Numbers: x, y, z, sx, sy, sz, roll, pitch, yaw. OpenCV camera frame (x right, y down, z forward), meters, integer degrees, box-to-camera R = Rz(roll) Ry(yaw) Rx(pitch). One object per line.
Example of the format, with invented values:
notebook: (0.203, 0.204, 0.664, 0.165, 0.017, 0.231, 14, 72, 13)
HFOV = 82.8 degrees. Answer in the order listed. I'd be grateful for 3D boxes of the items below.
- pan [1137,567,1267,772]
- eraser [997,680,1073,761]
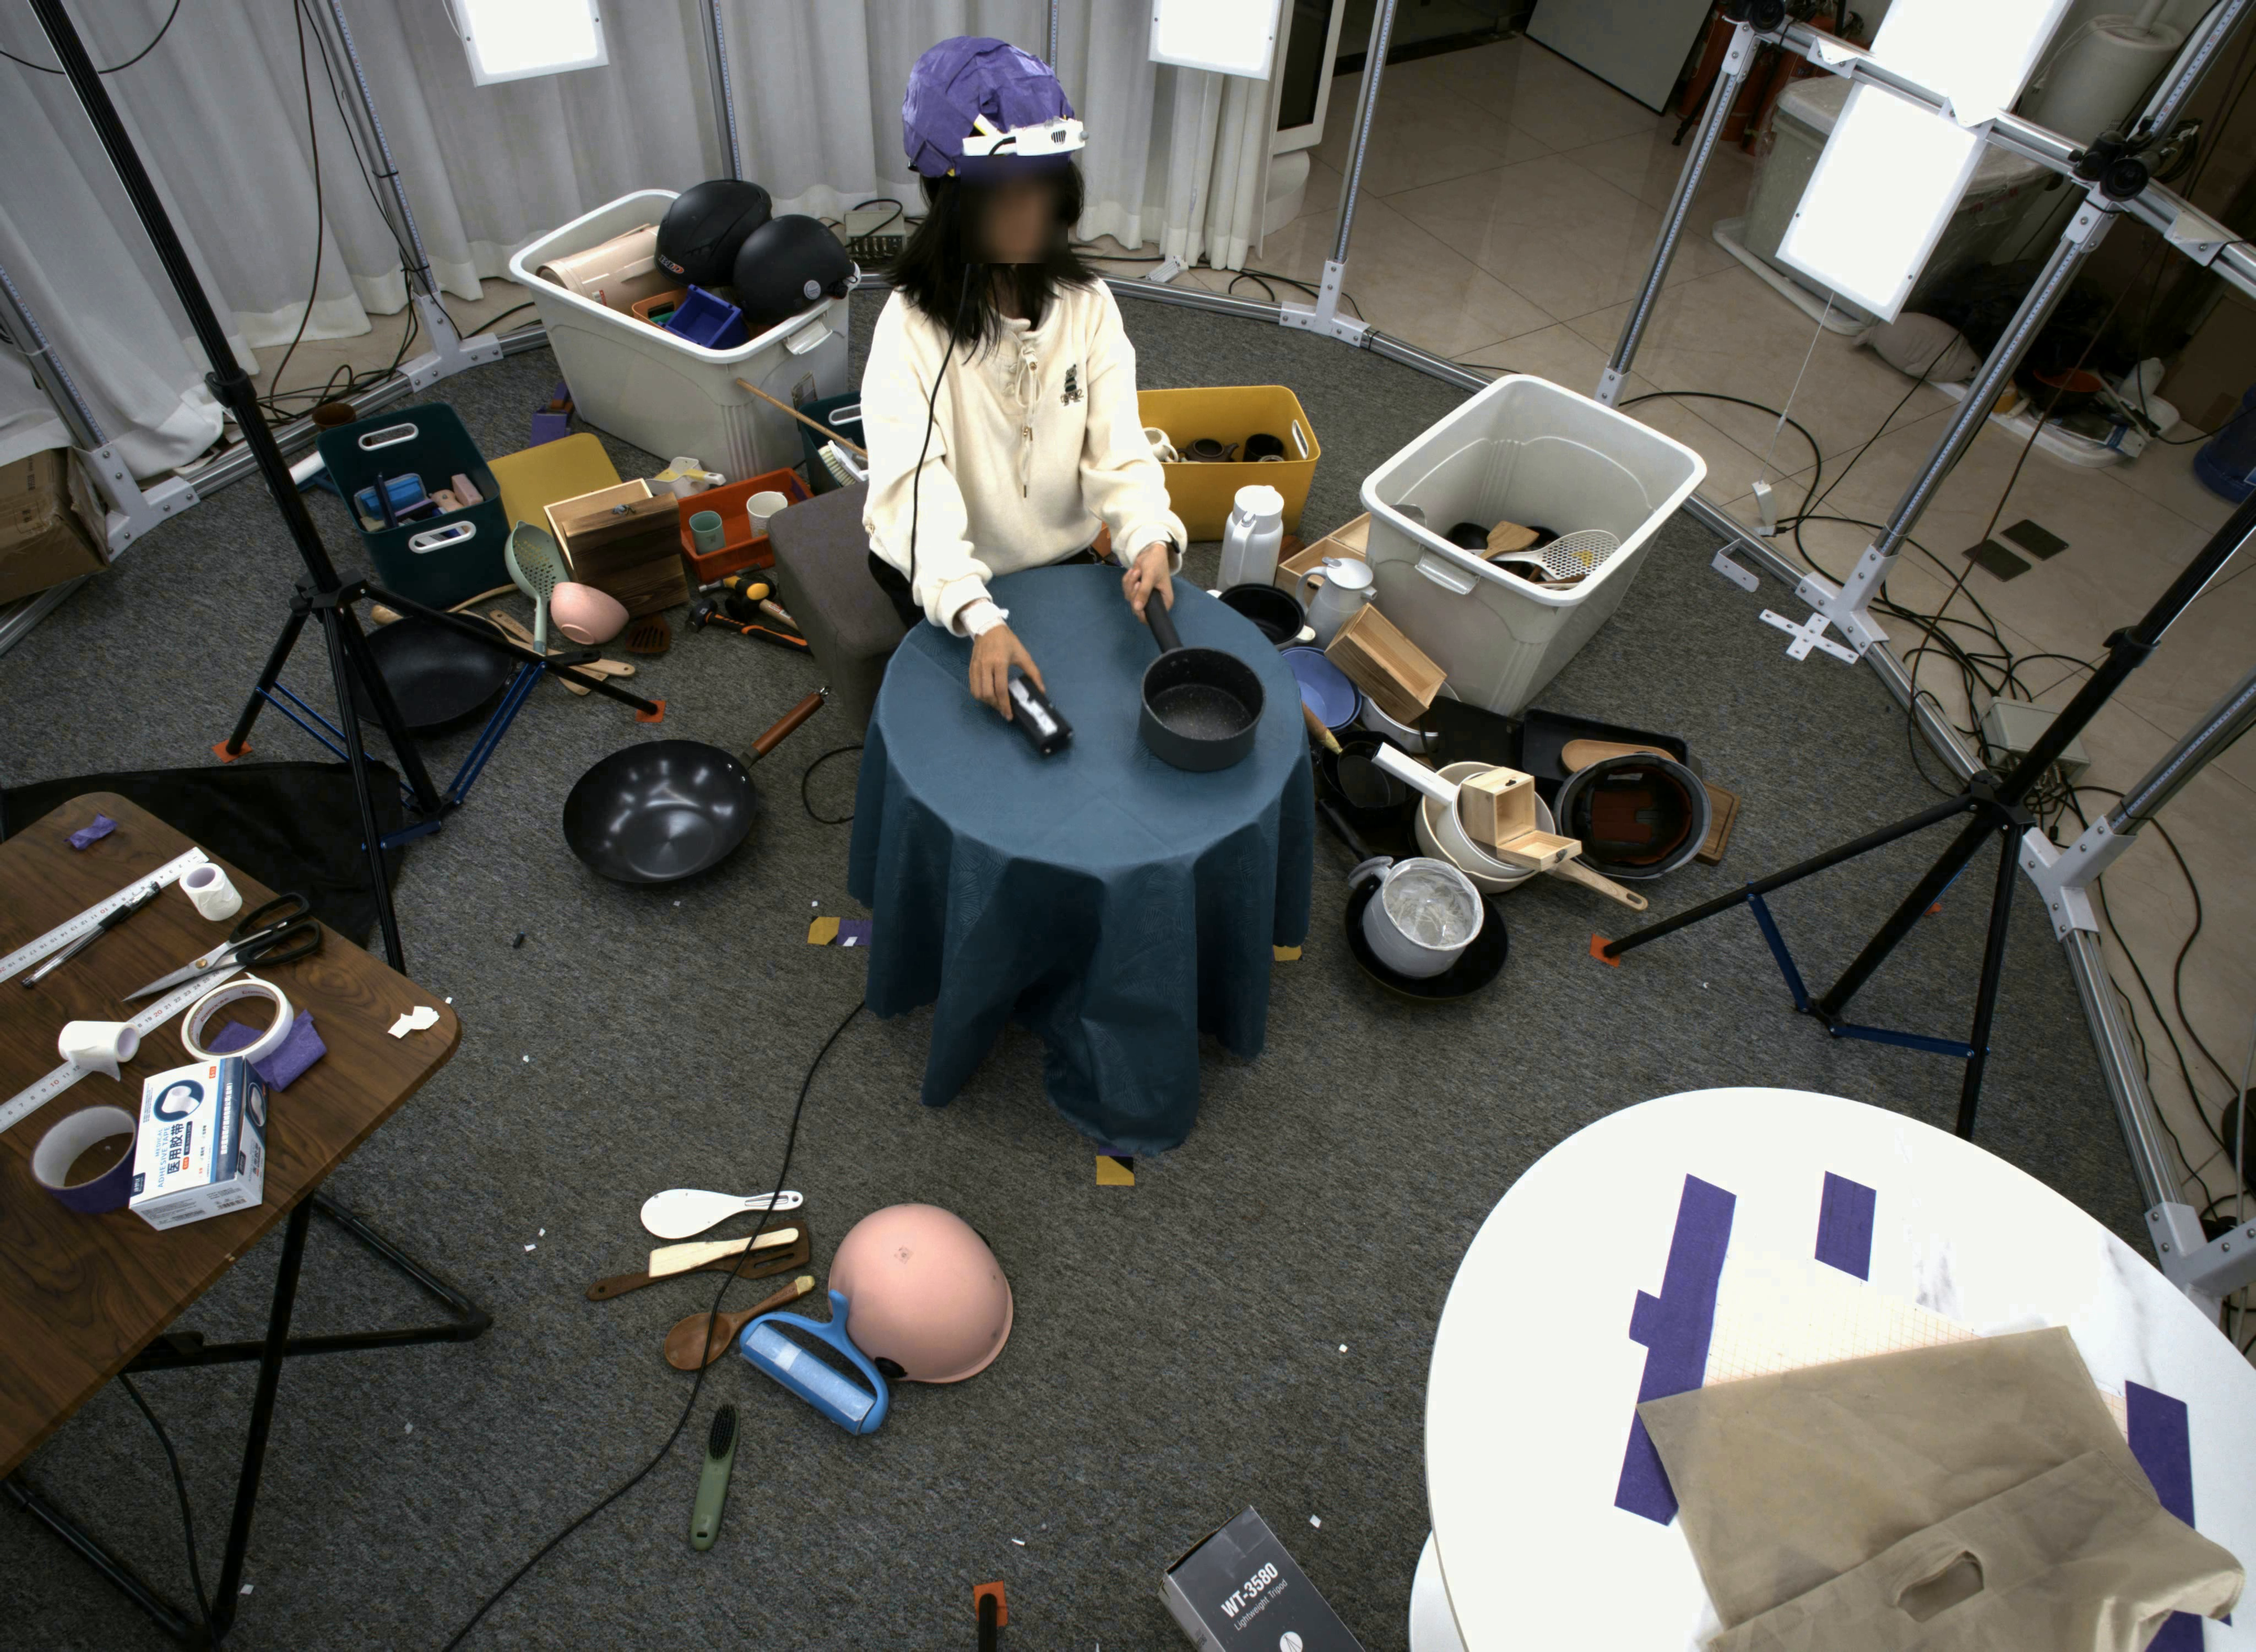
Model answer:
pan: (0.075, -0.222, 1.805, 0.172, 0.084, 0.336, -12, 55, -14)
eraser: (-0.128, -0.146, 1.763, 0.054, 0.030, 0.128, -27, 56, -16)
